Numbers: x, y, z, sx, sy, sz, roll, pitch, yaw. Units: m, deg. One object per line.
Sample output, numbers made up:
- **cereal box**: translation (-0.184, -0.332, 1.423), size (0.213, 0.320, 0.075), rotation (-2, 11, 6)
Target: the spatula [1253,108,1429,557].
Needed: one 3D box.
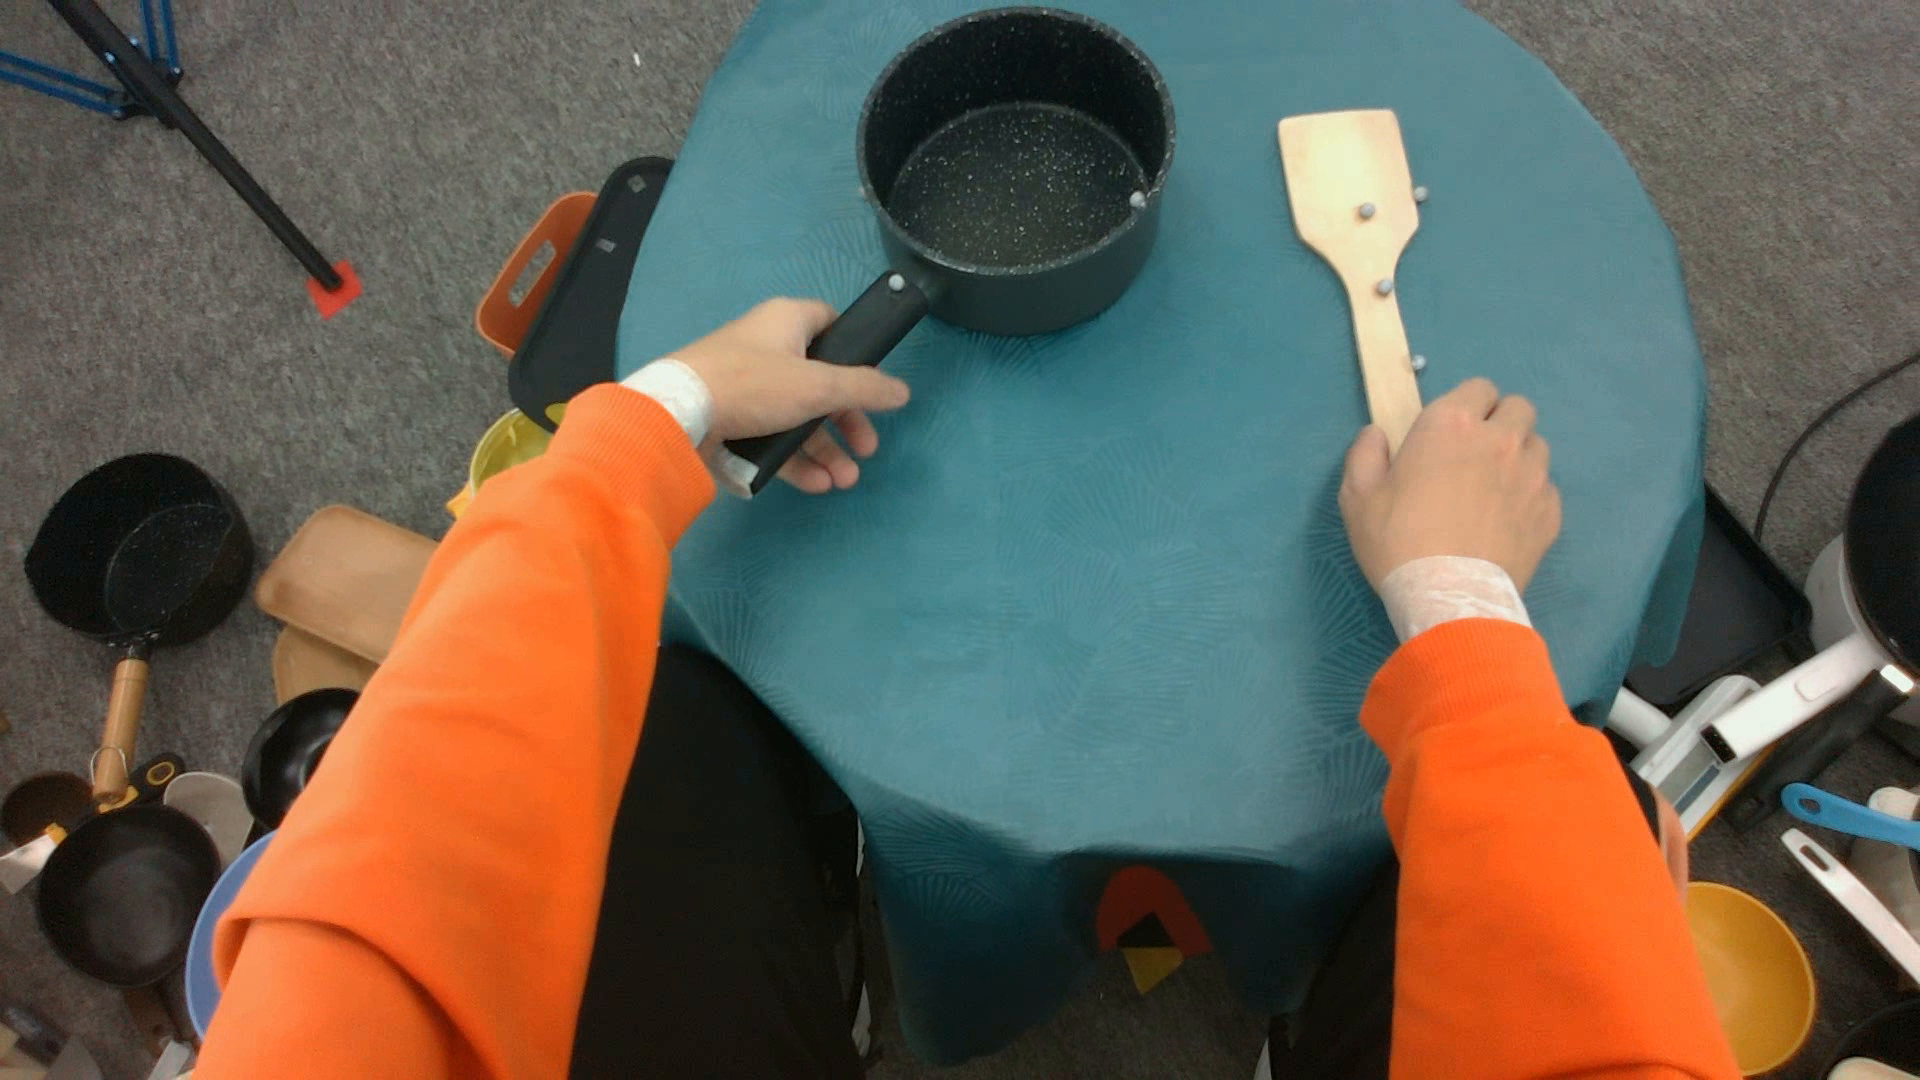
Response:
- **spatula**: translation (0.218, -0.124, 0.759), size (0.072, 0.010, 0.294), rotation (-3, 64, -2)

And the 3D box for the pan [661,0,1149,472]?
- **pan**: translation (-0.032, -0.151, 0.745), size (0.172, 0.086, 0.329), rotation (35, 74, 16)
